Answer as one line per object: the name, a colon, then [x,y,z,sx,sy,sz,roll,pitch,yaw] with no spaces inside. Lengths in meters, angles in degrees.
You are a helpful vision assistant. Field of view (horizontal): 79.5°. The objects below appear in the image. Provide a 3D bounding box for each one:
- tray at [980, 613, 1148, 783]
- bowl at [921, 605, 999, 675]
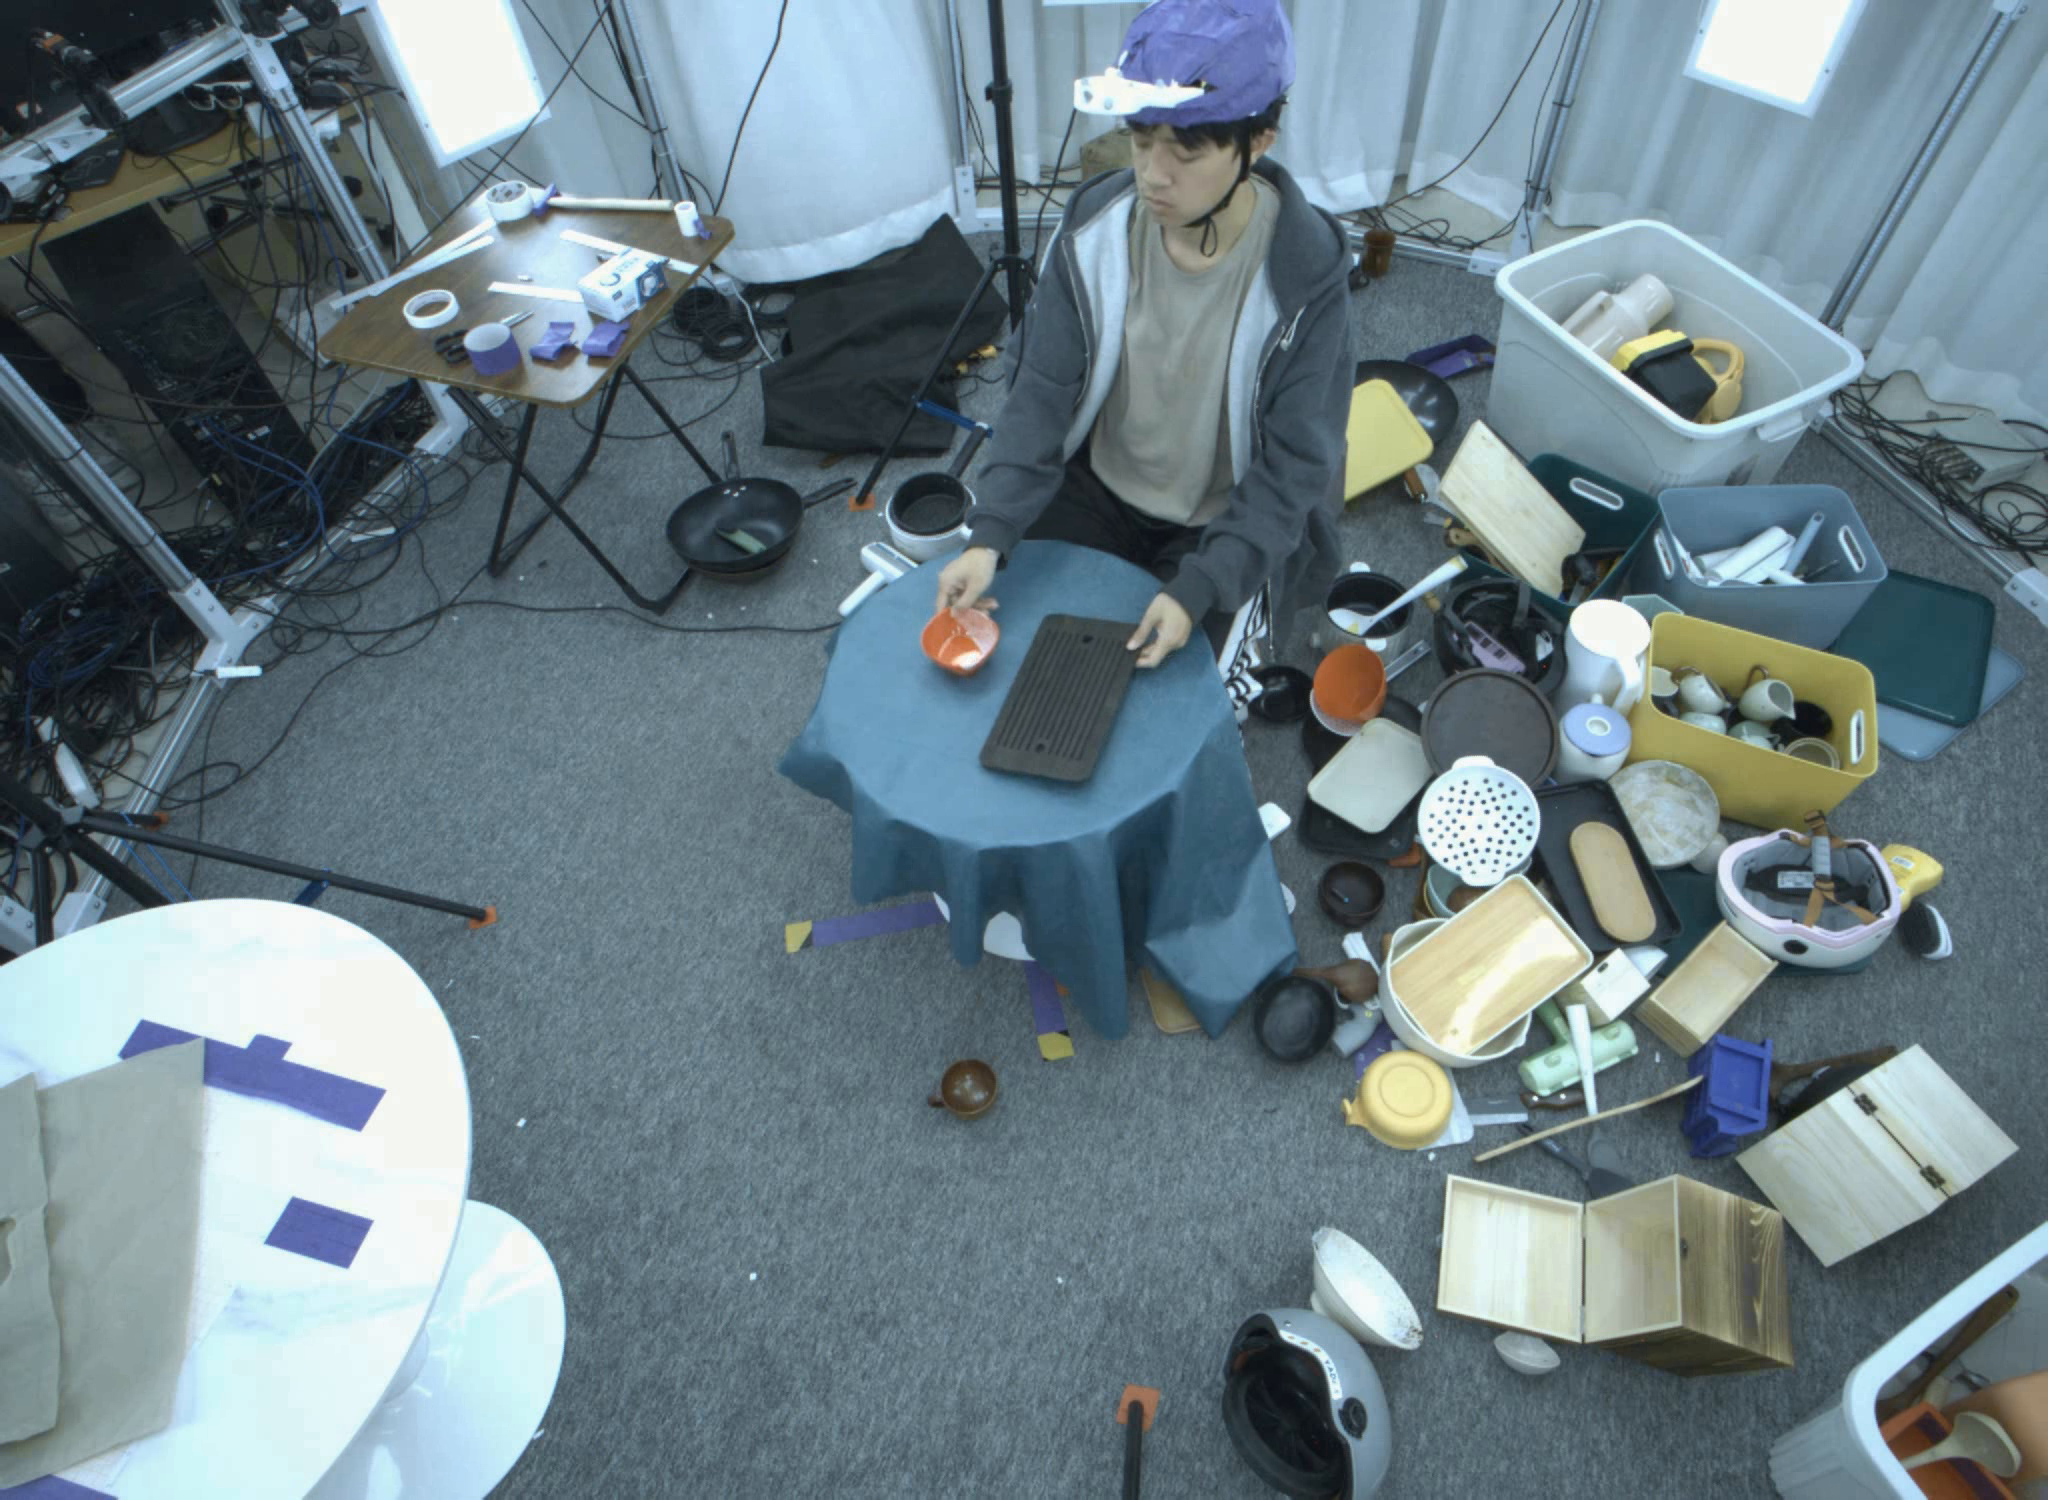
tray: [0.064,-0.082,1.823,0.168,0.019,0.305,11,55,19]
bowl: [-0.095,-0.159,1.867,0.119,0.052,0.118,0,59,2]
